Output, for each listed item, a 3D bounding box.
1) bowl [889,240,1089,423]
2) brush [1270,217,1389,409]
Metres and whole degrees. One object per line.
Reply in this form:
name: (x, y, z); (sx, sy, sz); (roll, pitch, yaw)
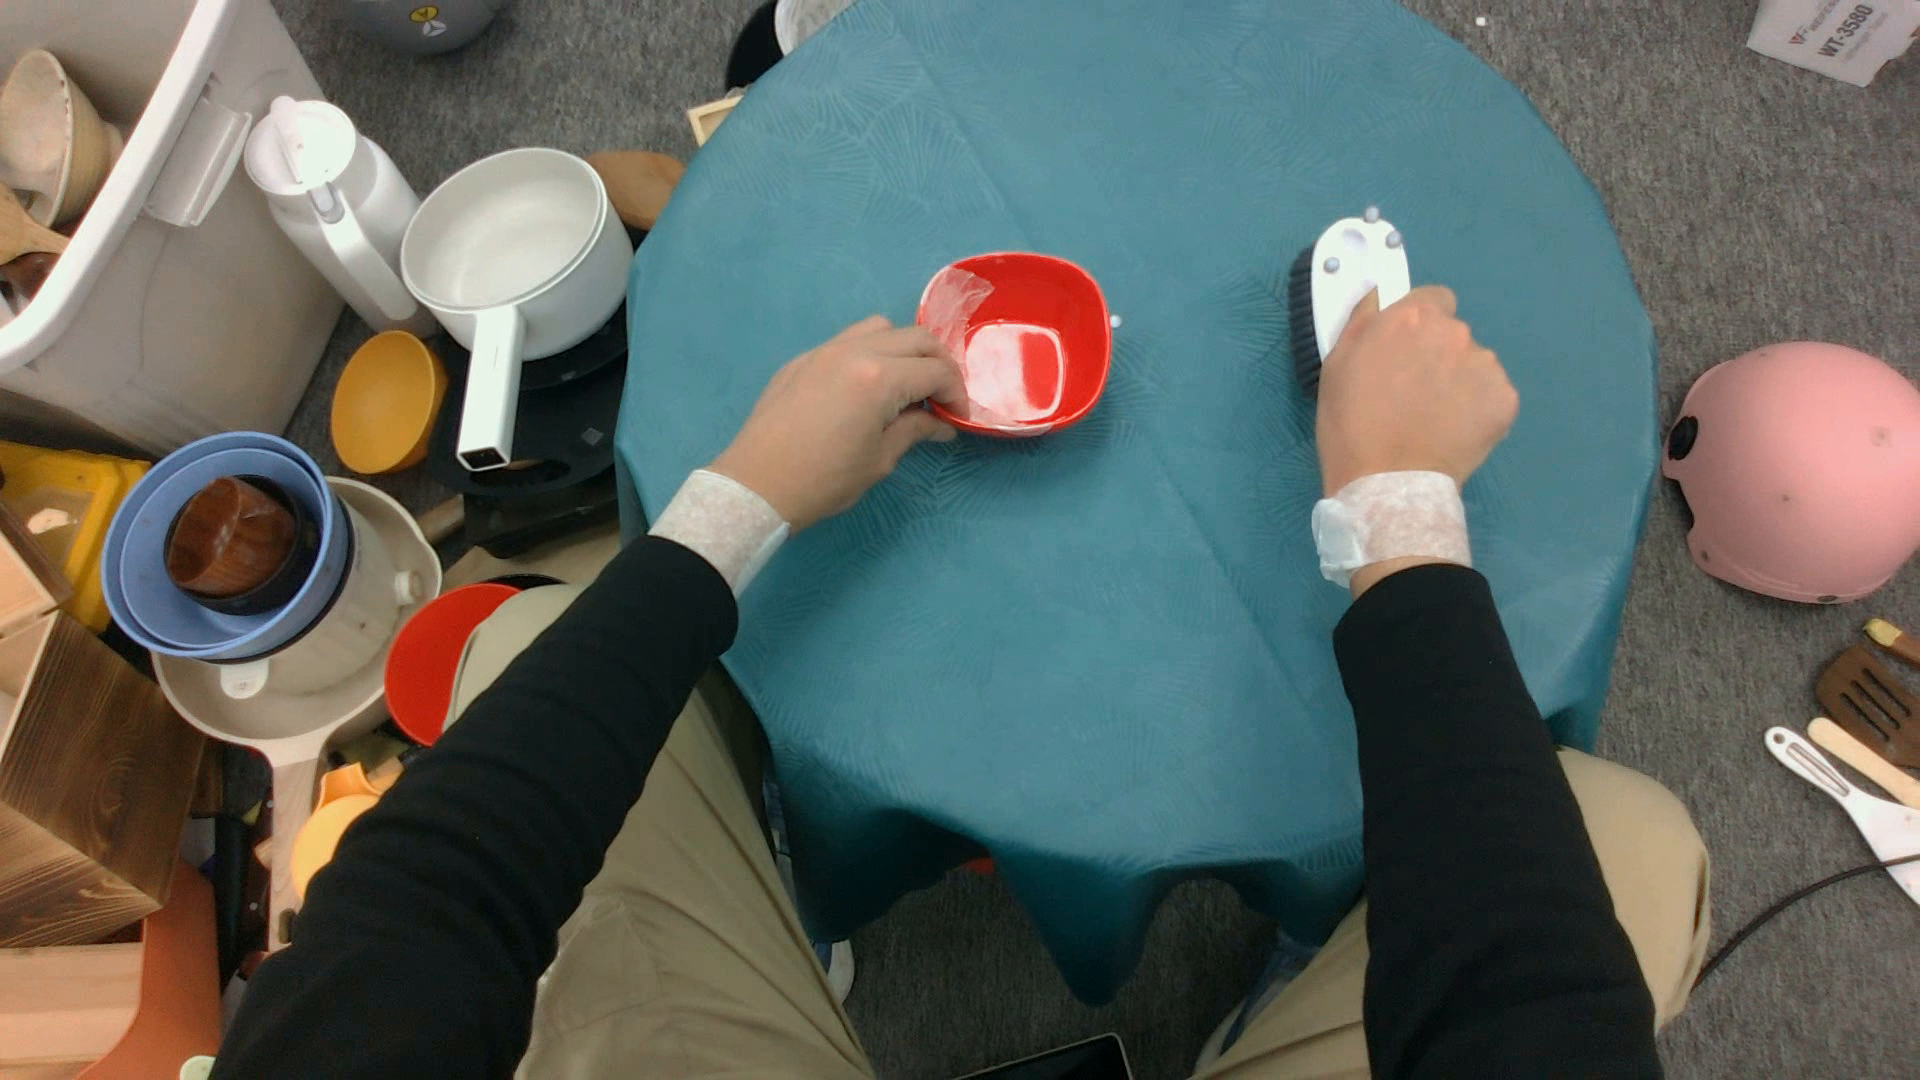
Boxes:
bowl: (0.016, -0.110, 0.782); (0.119, 0.051, 0.119); (0, 69, -1)
brush: (0.208, -0.129, 0.752); (0.050, 0.072, 0.099); (3, 77, -13)
